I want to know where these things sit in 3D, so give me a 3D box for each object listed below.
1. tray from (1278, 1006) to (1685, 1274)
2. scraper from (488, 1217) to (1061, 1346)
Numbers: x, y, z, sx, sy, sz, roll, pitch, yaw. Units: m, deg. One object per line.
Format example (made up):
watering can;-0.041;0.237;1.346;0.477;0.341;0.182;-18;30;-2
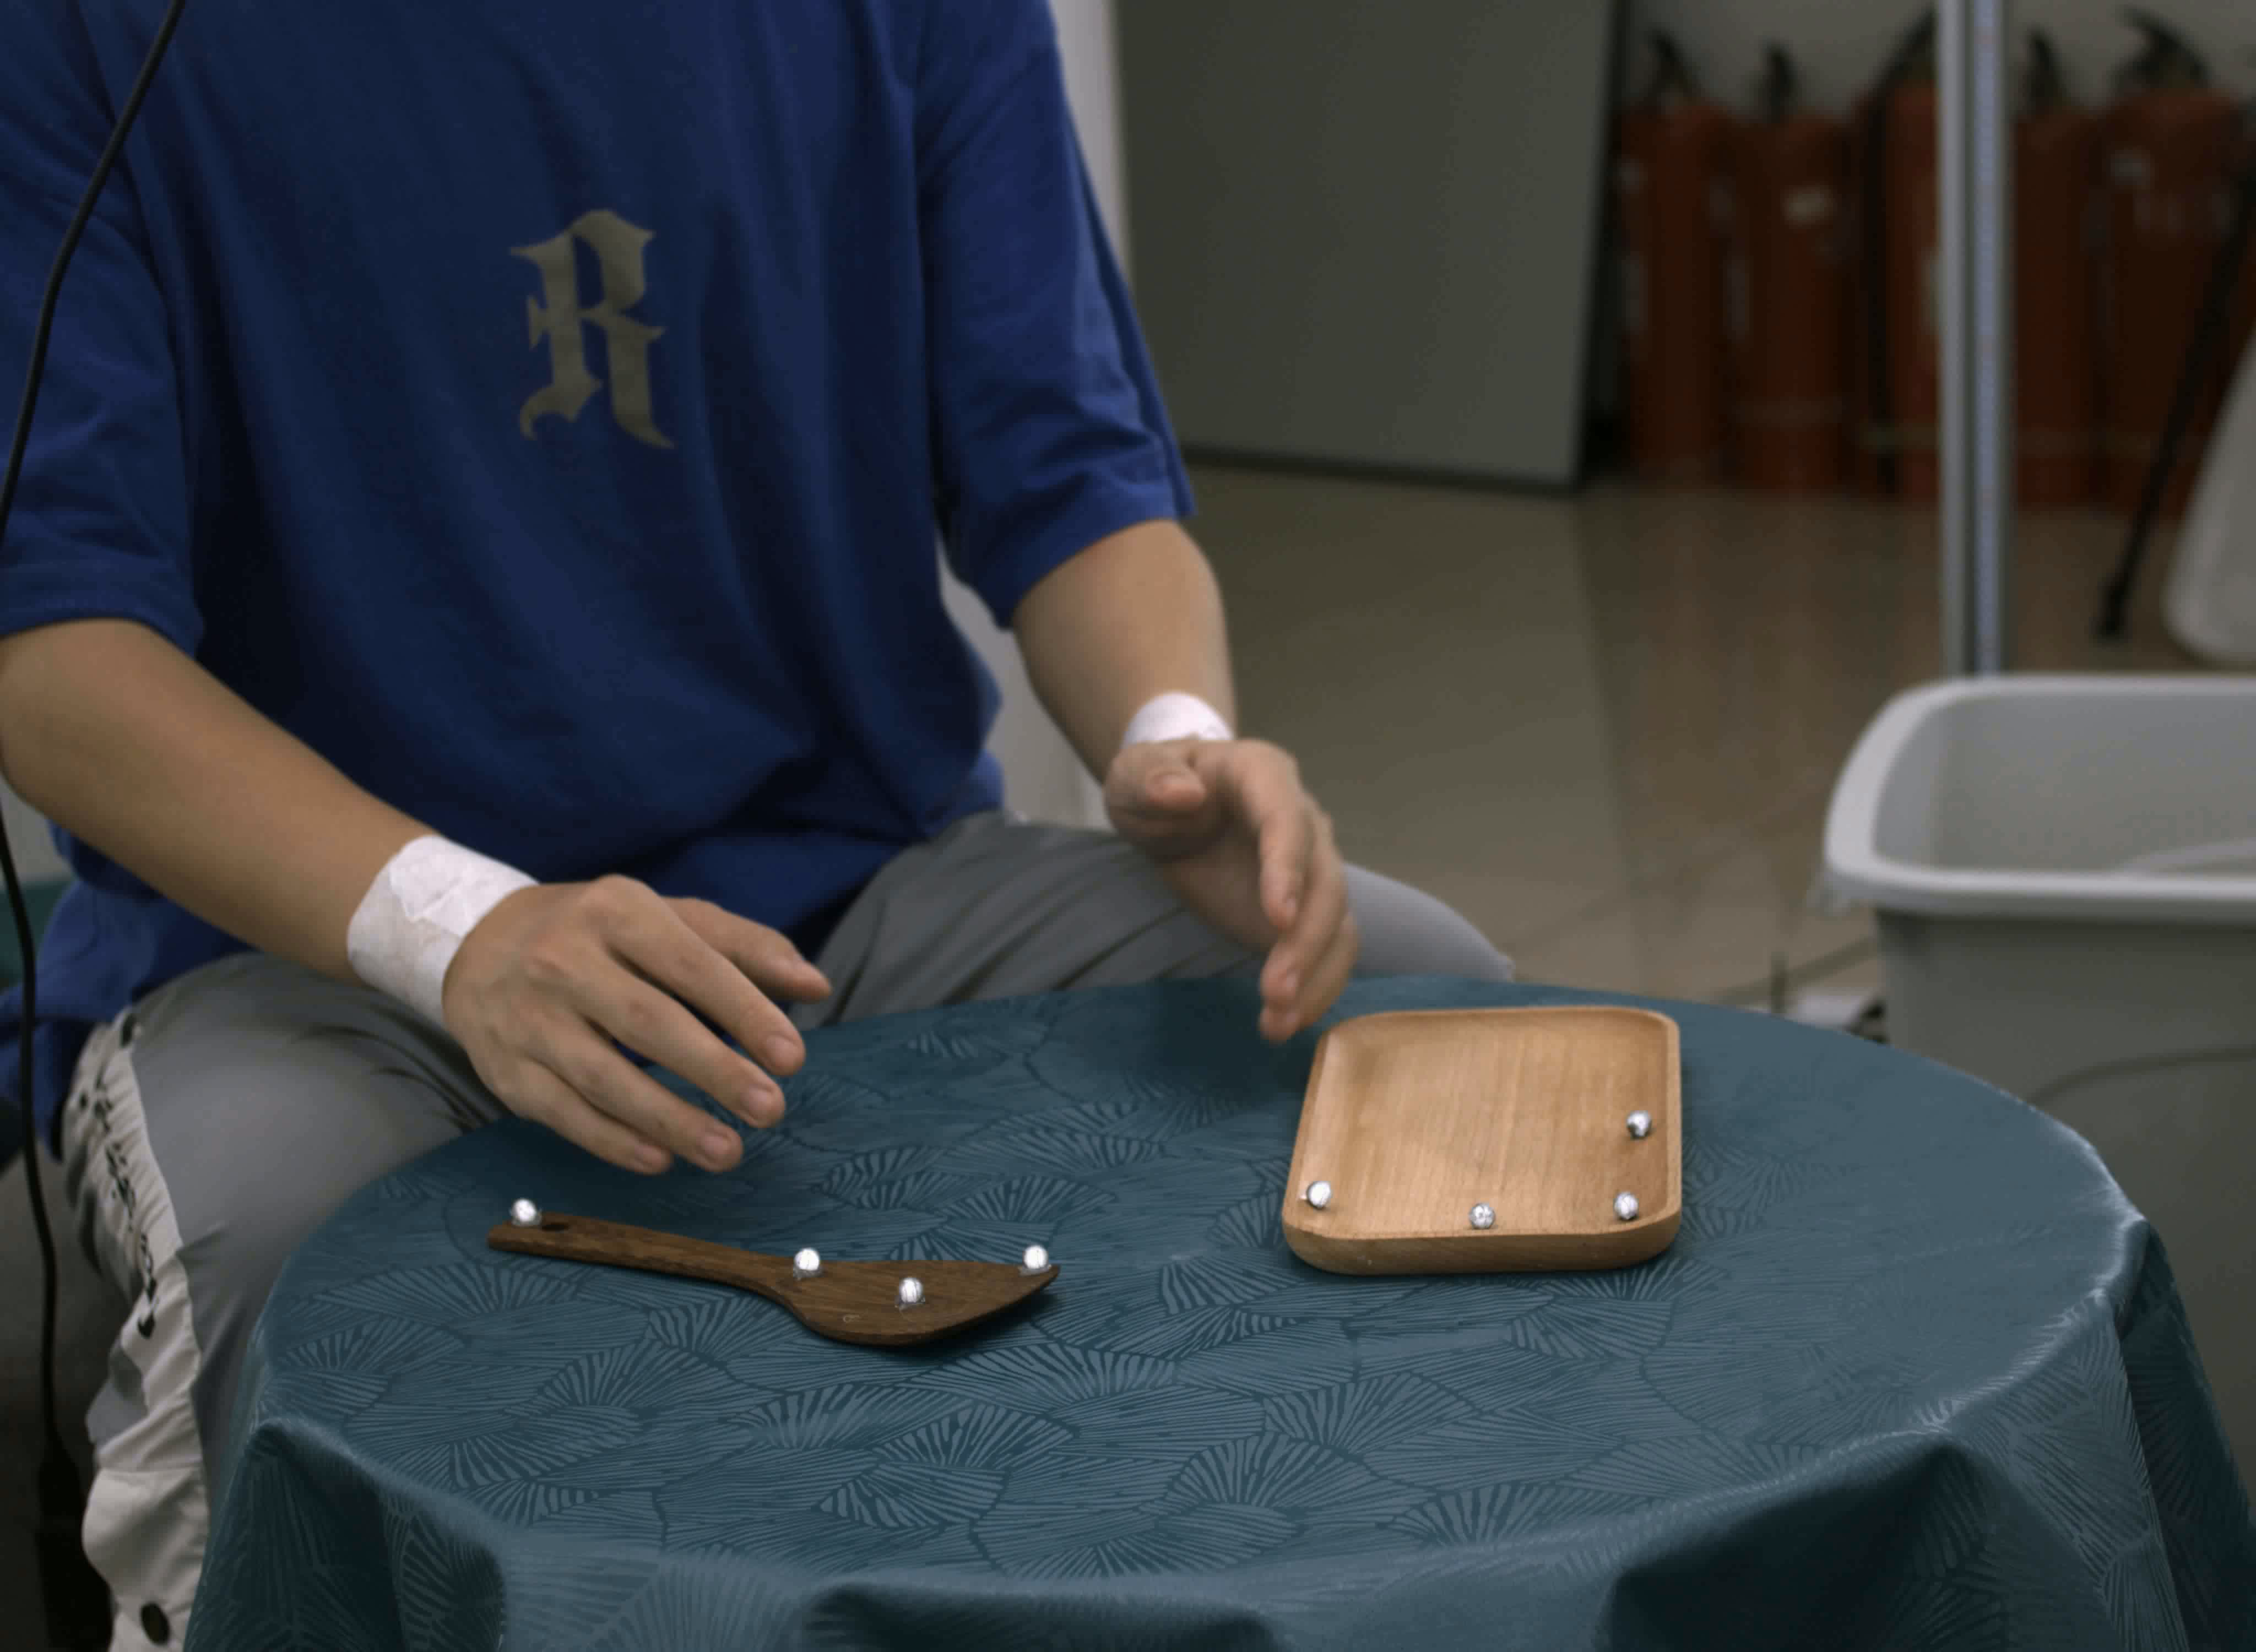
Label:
tray;0.120;0.102;1.781;0.129;0.023;0.250;0;13;7
scraper;-0.119;0.141;1.706;0.213;0.011;0.074;6;16;37
